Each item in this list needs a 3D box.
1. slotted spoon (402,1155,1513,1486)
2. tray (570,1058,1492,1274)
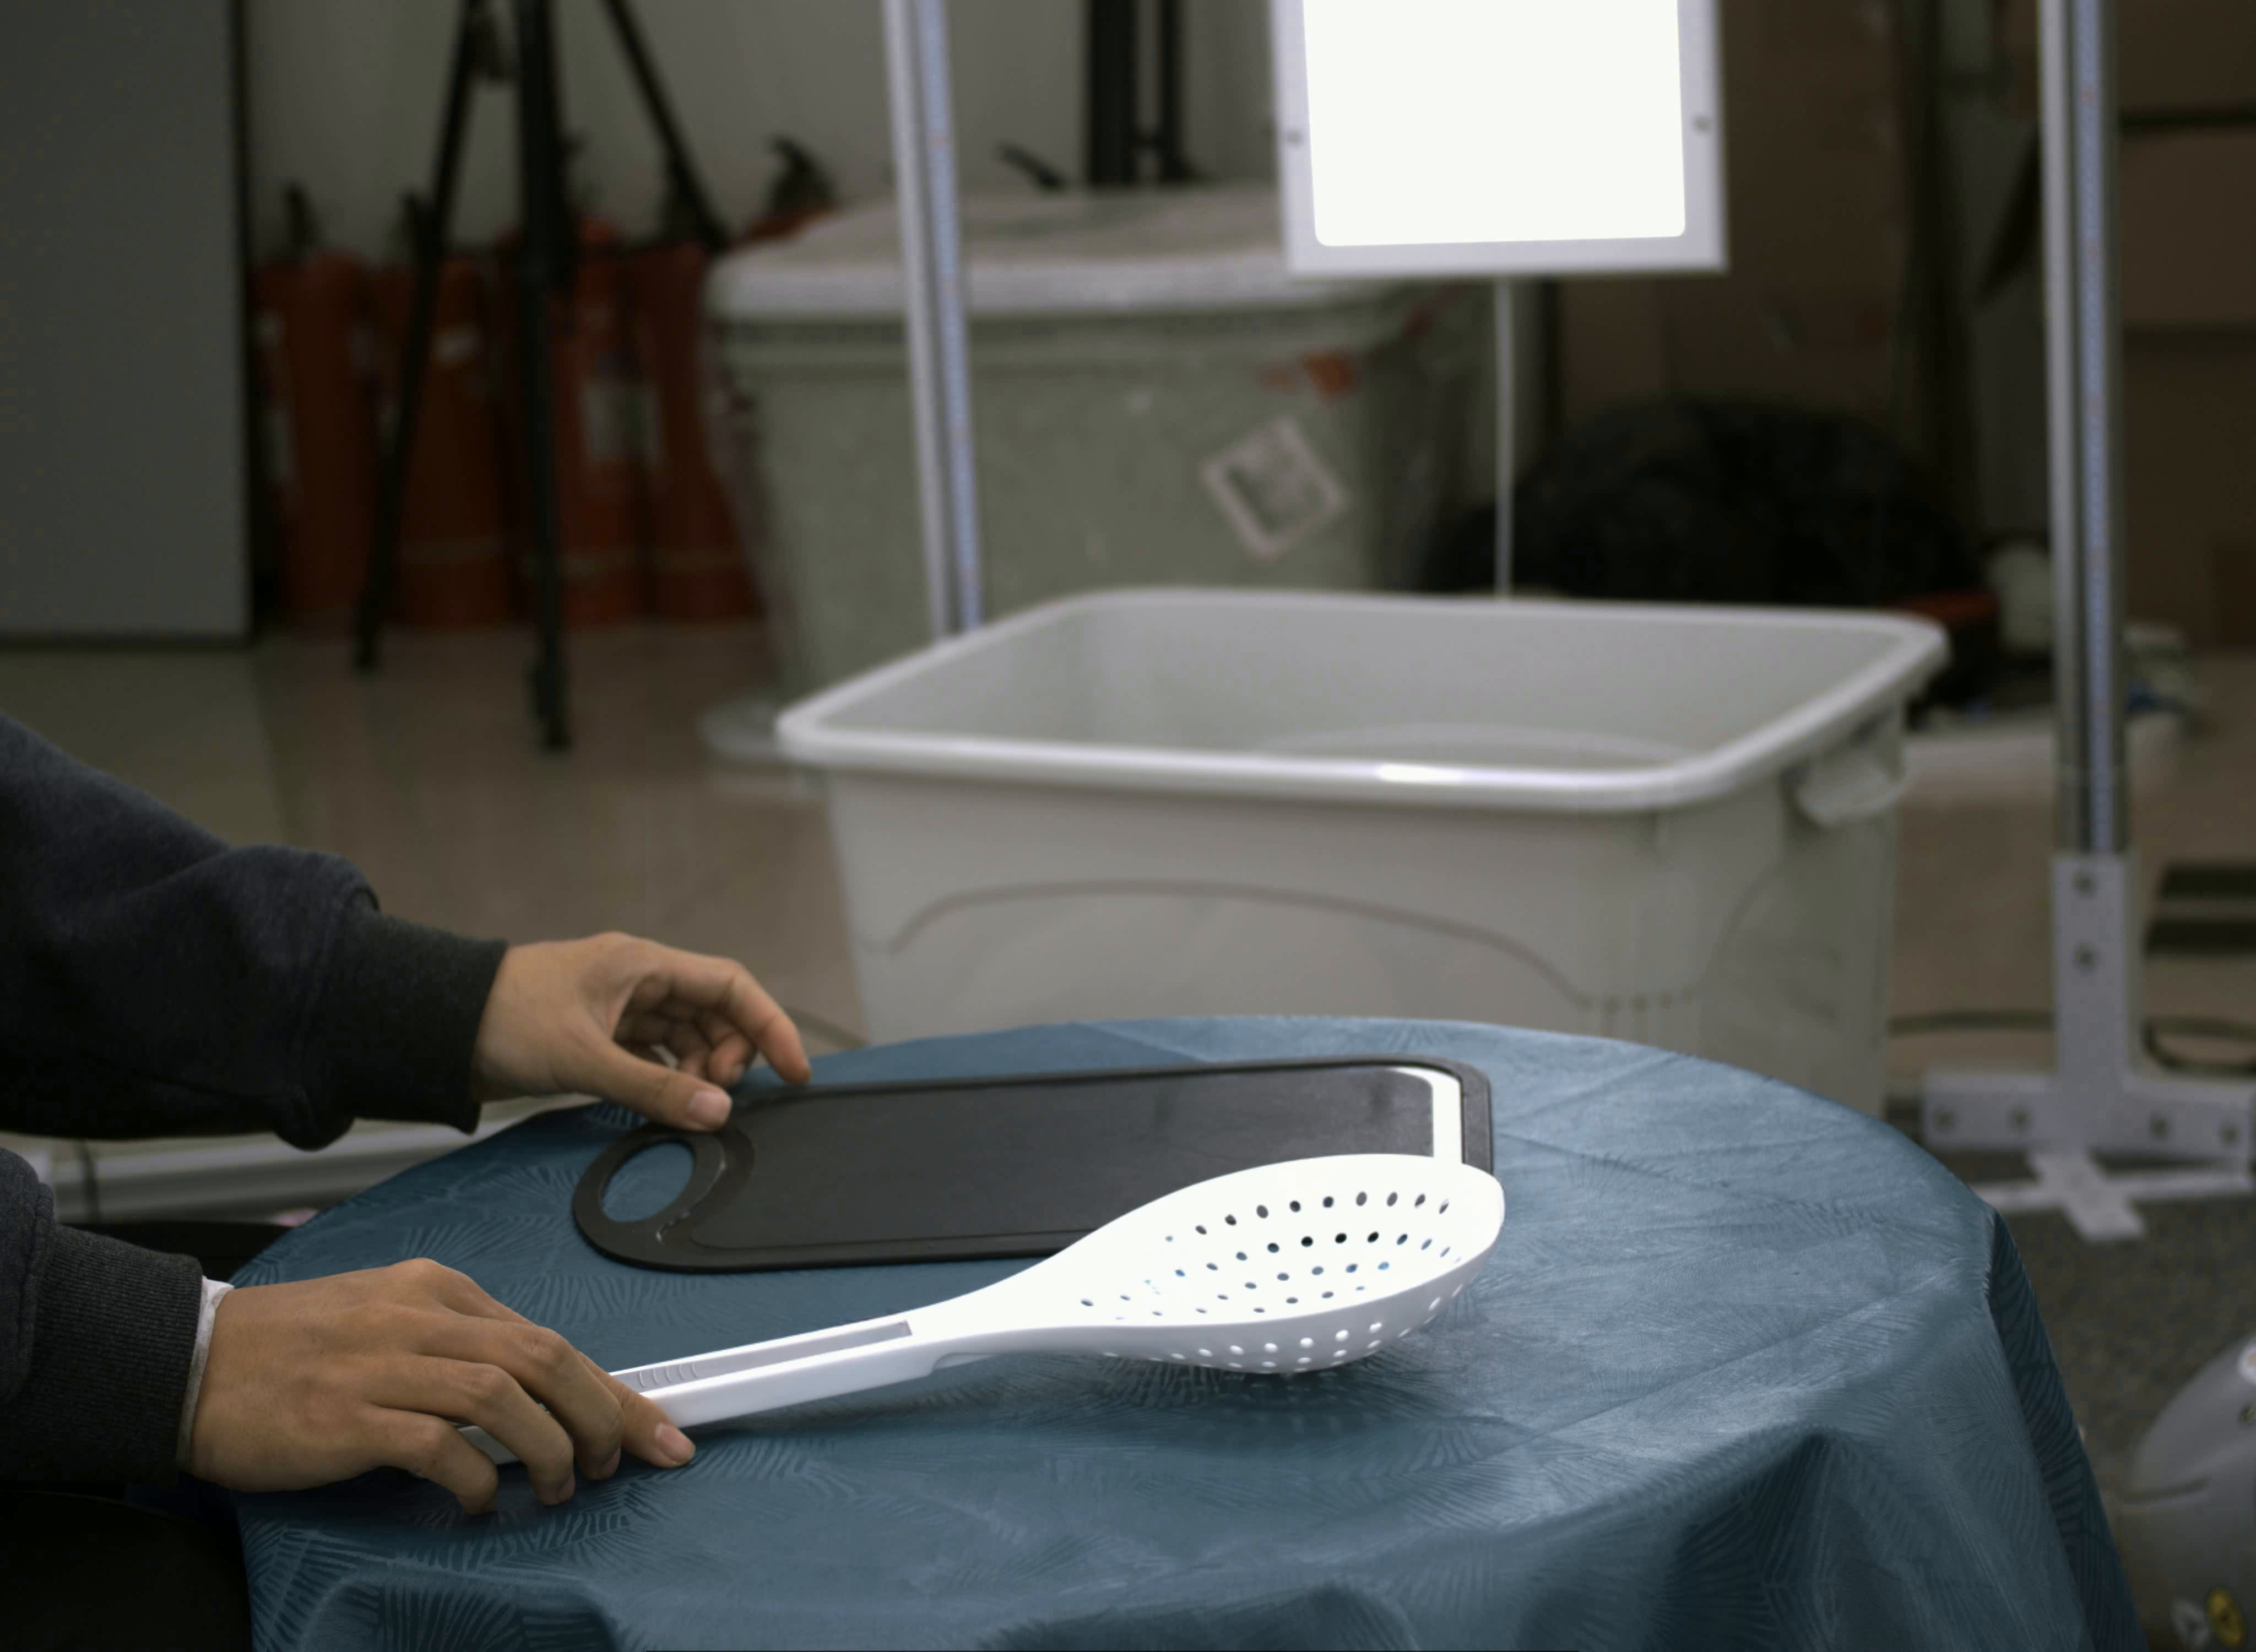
[{"bbox_3d":[-0.050,0.156,1.700,0.347,0.046,0.136,-8,15,-6],"label":"slotted spoon"},{"bbox_3d":[-0.034,0.117,1.935,0.326,0.010,0.210,-4,14,6],"label":"tray"}]
